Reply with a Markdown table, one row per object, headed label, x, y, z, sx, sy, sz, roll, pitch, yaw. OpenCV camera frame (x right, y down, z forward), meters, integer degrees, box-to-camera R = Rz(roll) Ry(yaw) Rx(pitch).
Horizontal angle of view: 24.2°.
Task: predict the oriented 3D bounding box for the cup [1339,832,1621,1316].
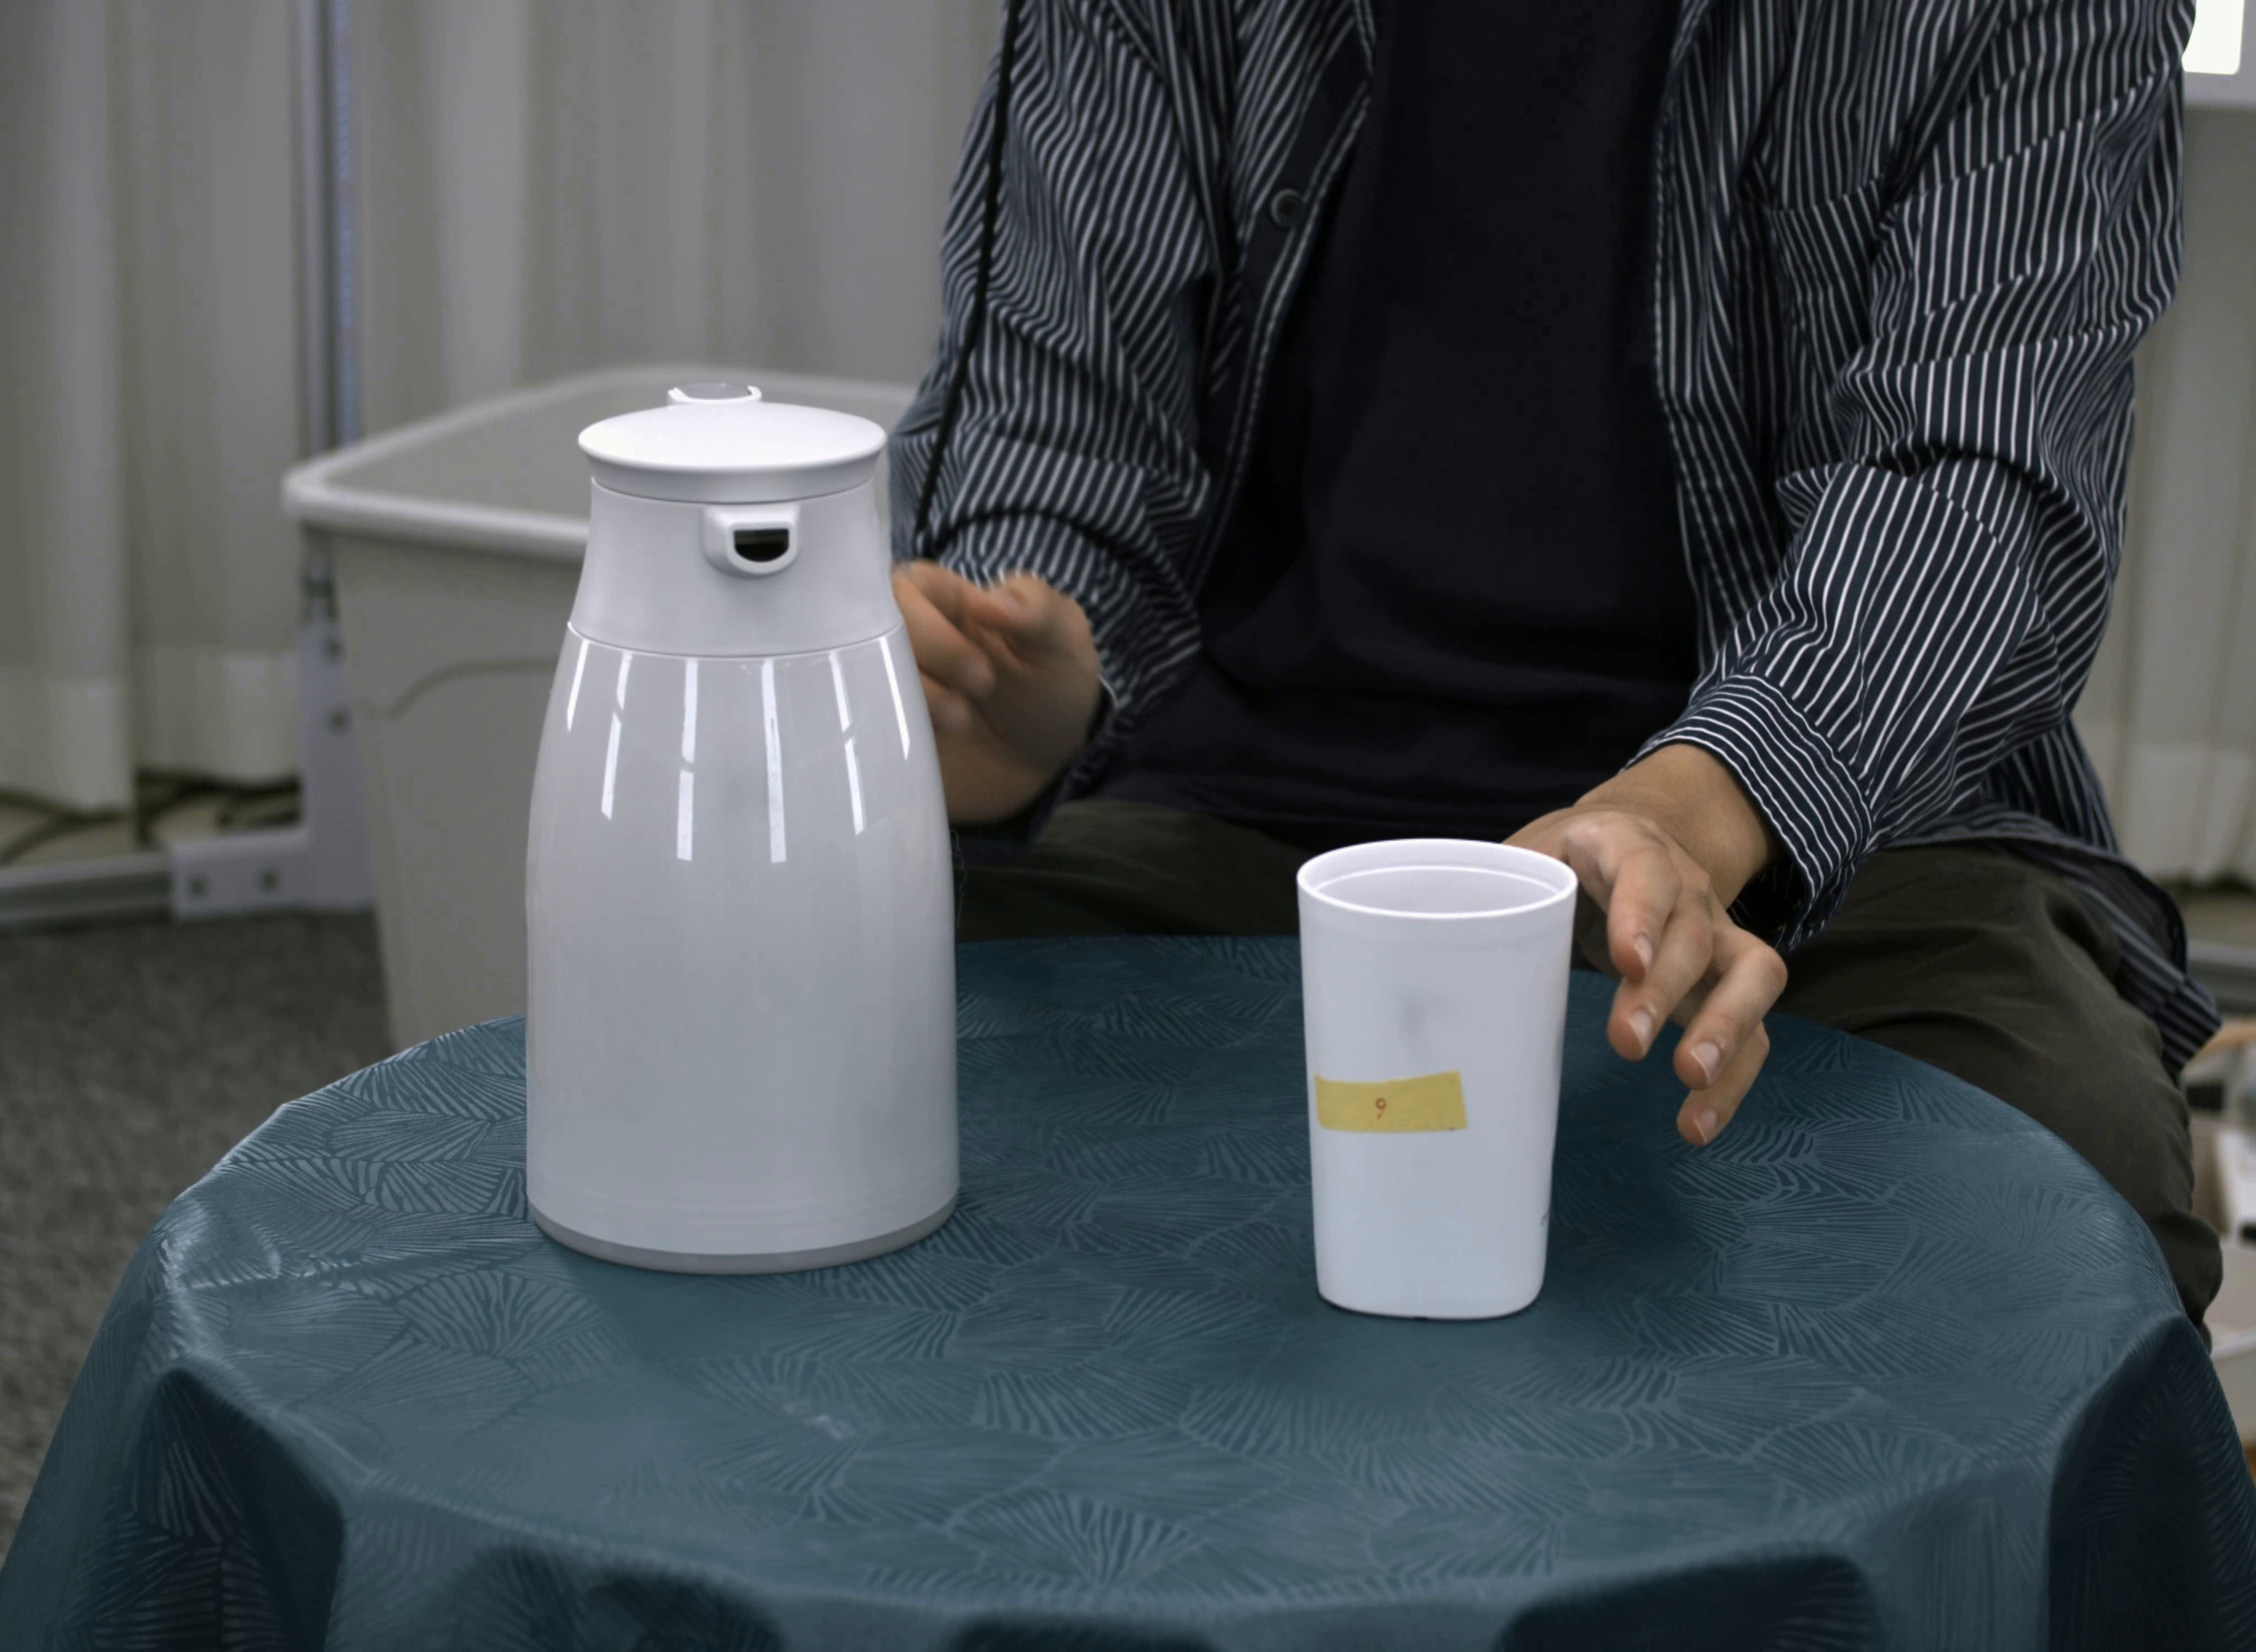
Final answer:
| label | x | y | z | sx | sy | sz | roll | pitch | yaw |
| --- | --- | --- | --- | --- | --- | --- | --- | --- | --- |
| cup | 0.101 | 0.073 | 1.531 | 0.081 | 0.126 | 0.081 | 0 | 16 | 1 |

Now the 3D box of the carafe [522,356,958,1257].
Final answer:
| label | x | y | z | sx | sy | sz | roll | pitch | yaw |
| --- | --- | --- | --- | --- | --- | --- | --- | --- | --- |
| carafe | -0.125 | -0.015 | 1.599 | 0.133 | 0.251 | 0.166 | -7 | 19 | -17 |
